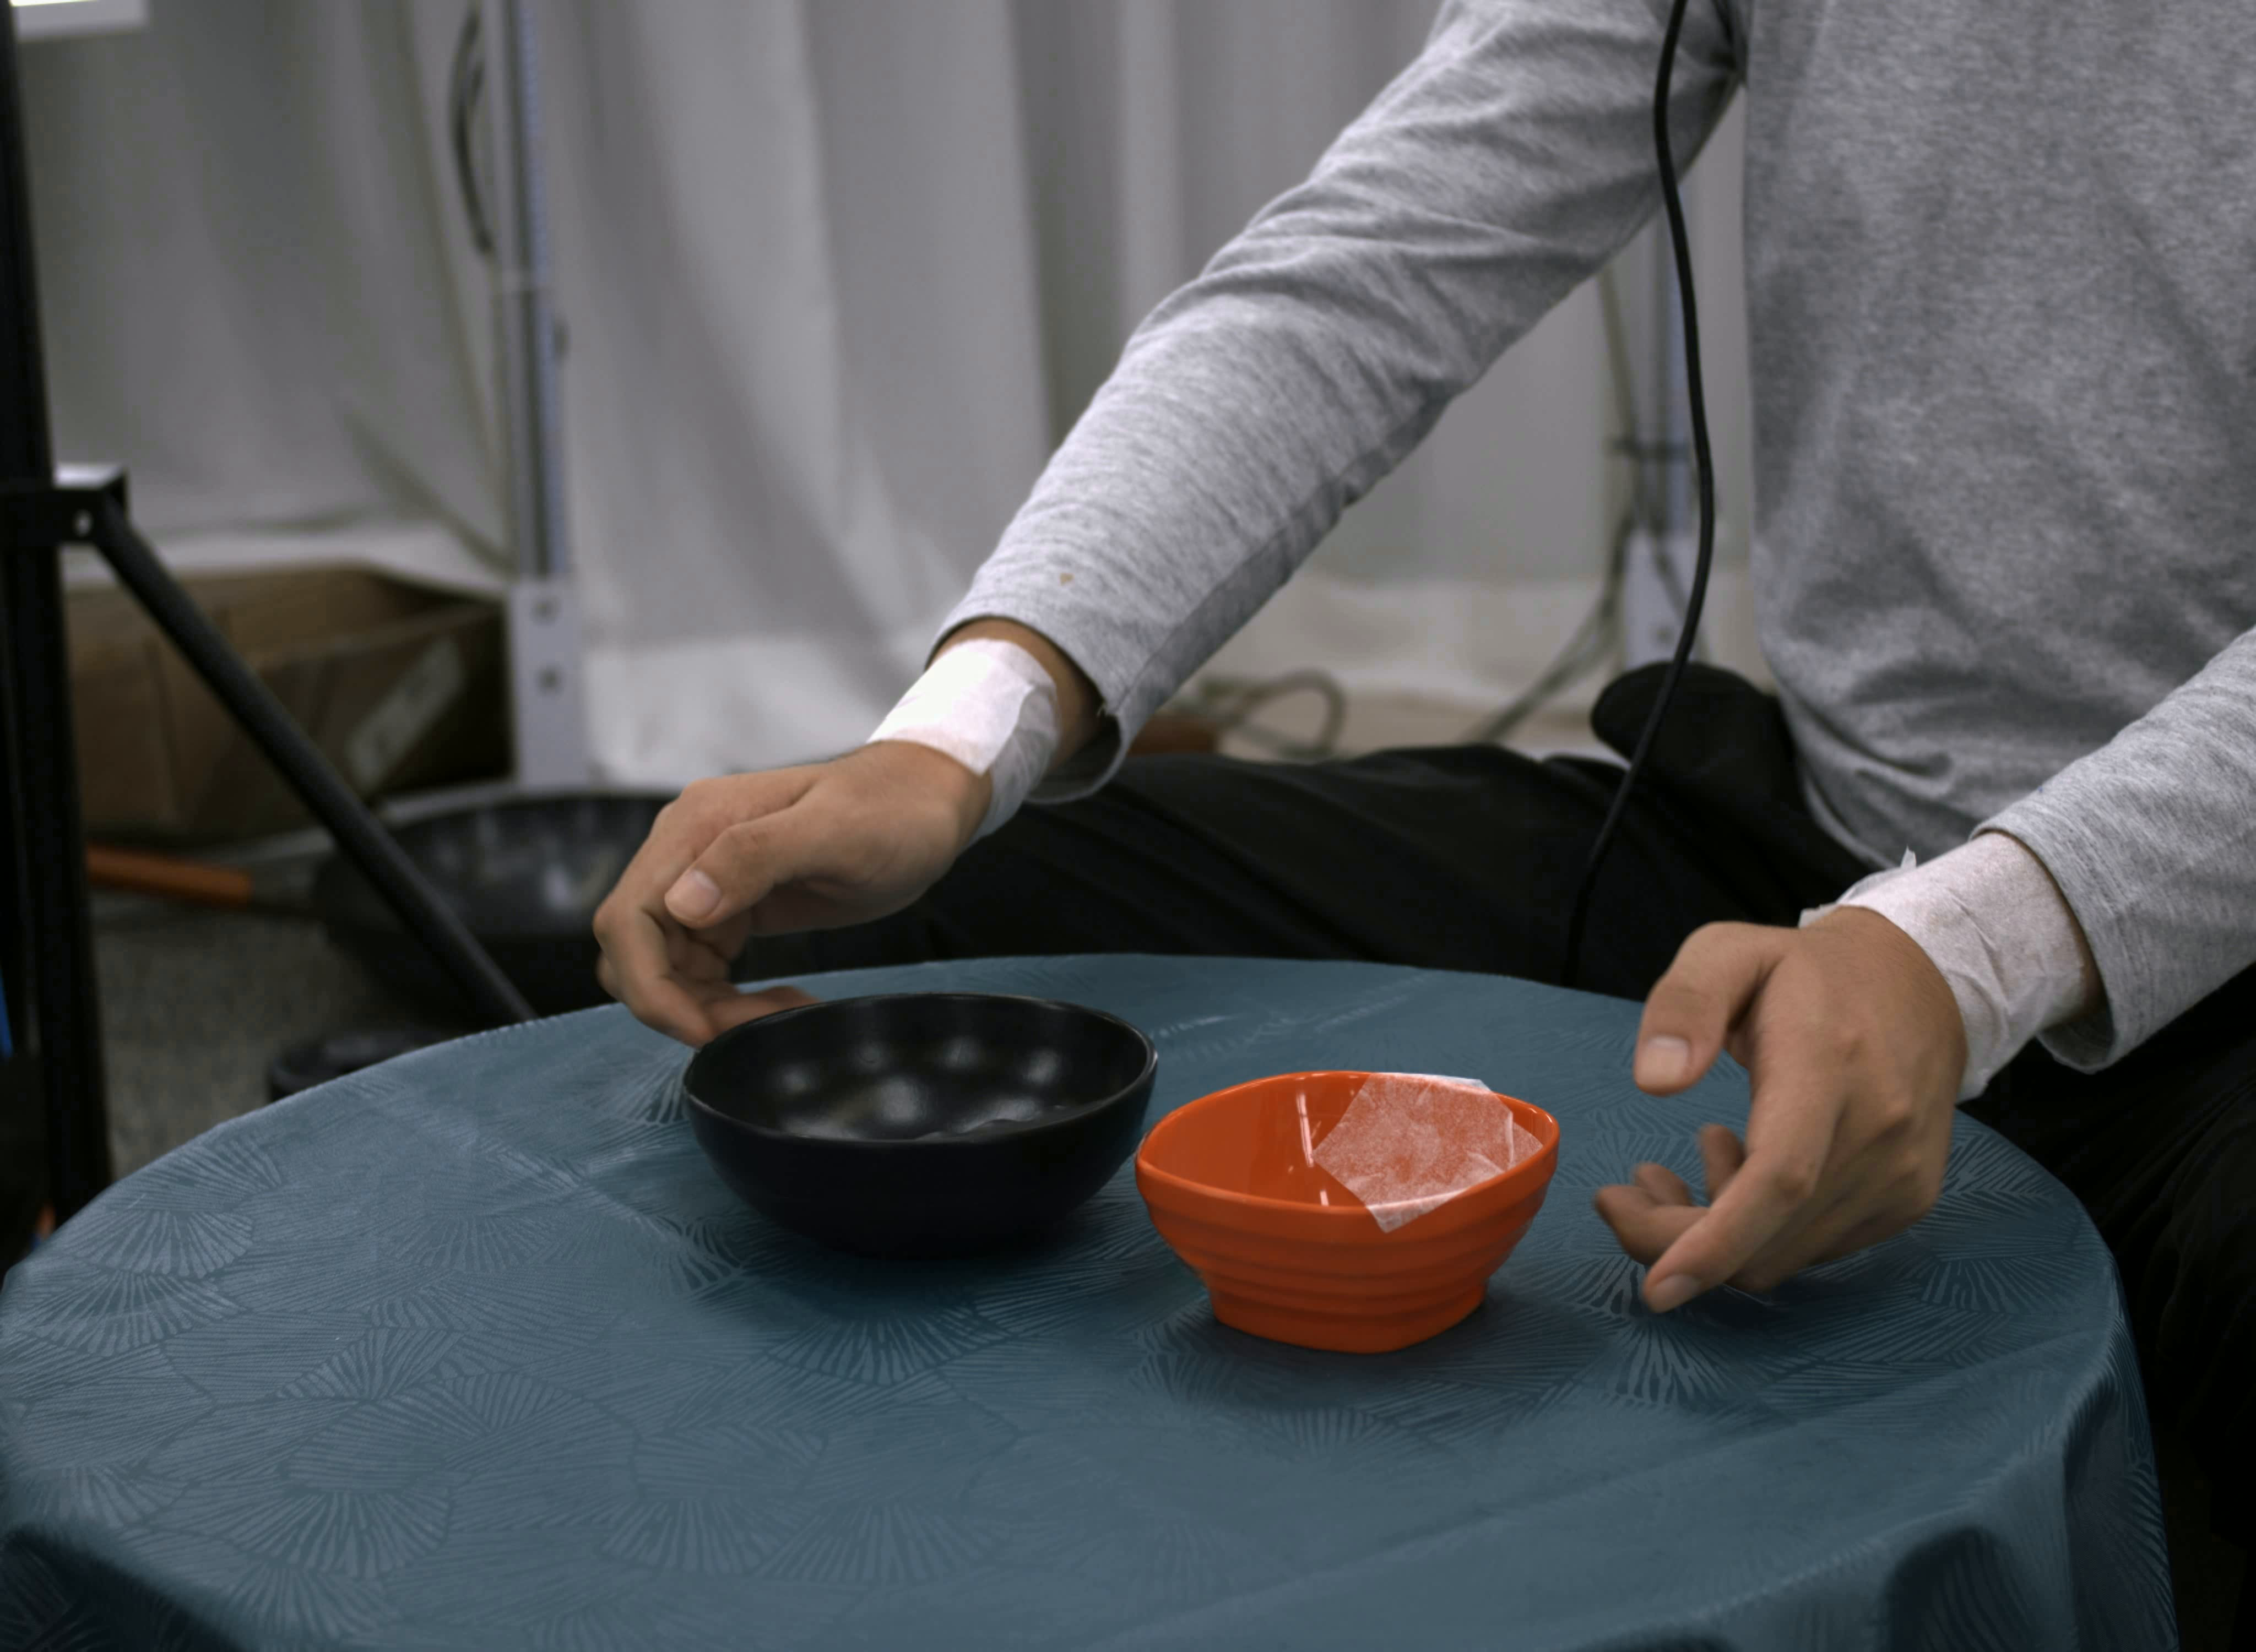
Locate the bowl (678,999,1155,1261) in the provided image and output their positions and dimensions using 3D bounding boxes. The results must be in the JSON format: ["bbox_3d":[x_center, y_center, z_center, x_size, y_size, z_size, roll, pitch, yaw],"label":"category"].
[{"bbox_3d":[-0.060,0.092,1.542,0.139,0.050,0.140,-1,14,-1],"label":"bowl"}]

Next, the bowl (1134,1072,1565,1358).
[{"bbox_3d":[0.062,0.109,1.454,0.118,0.051,0.119,-3,15,0],"label":"bowl"}]
